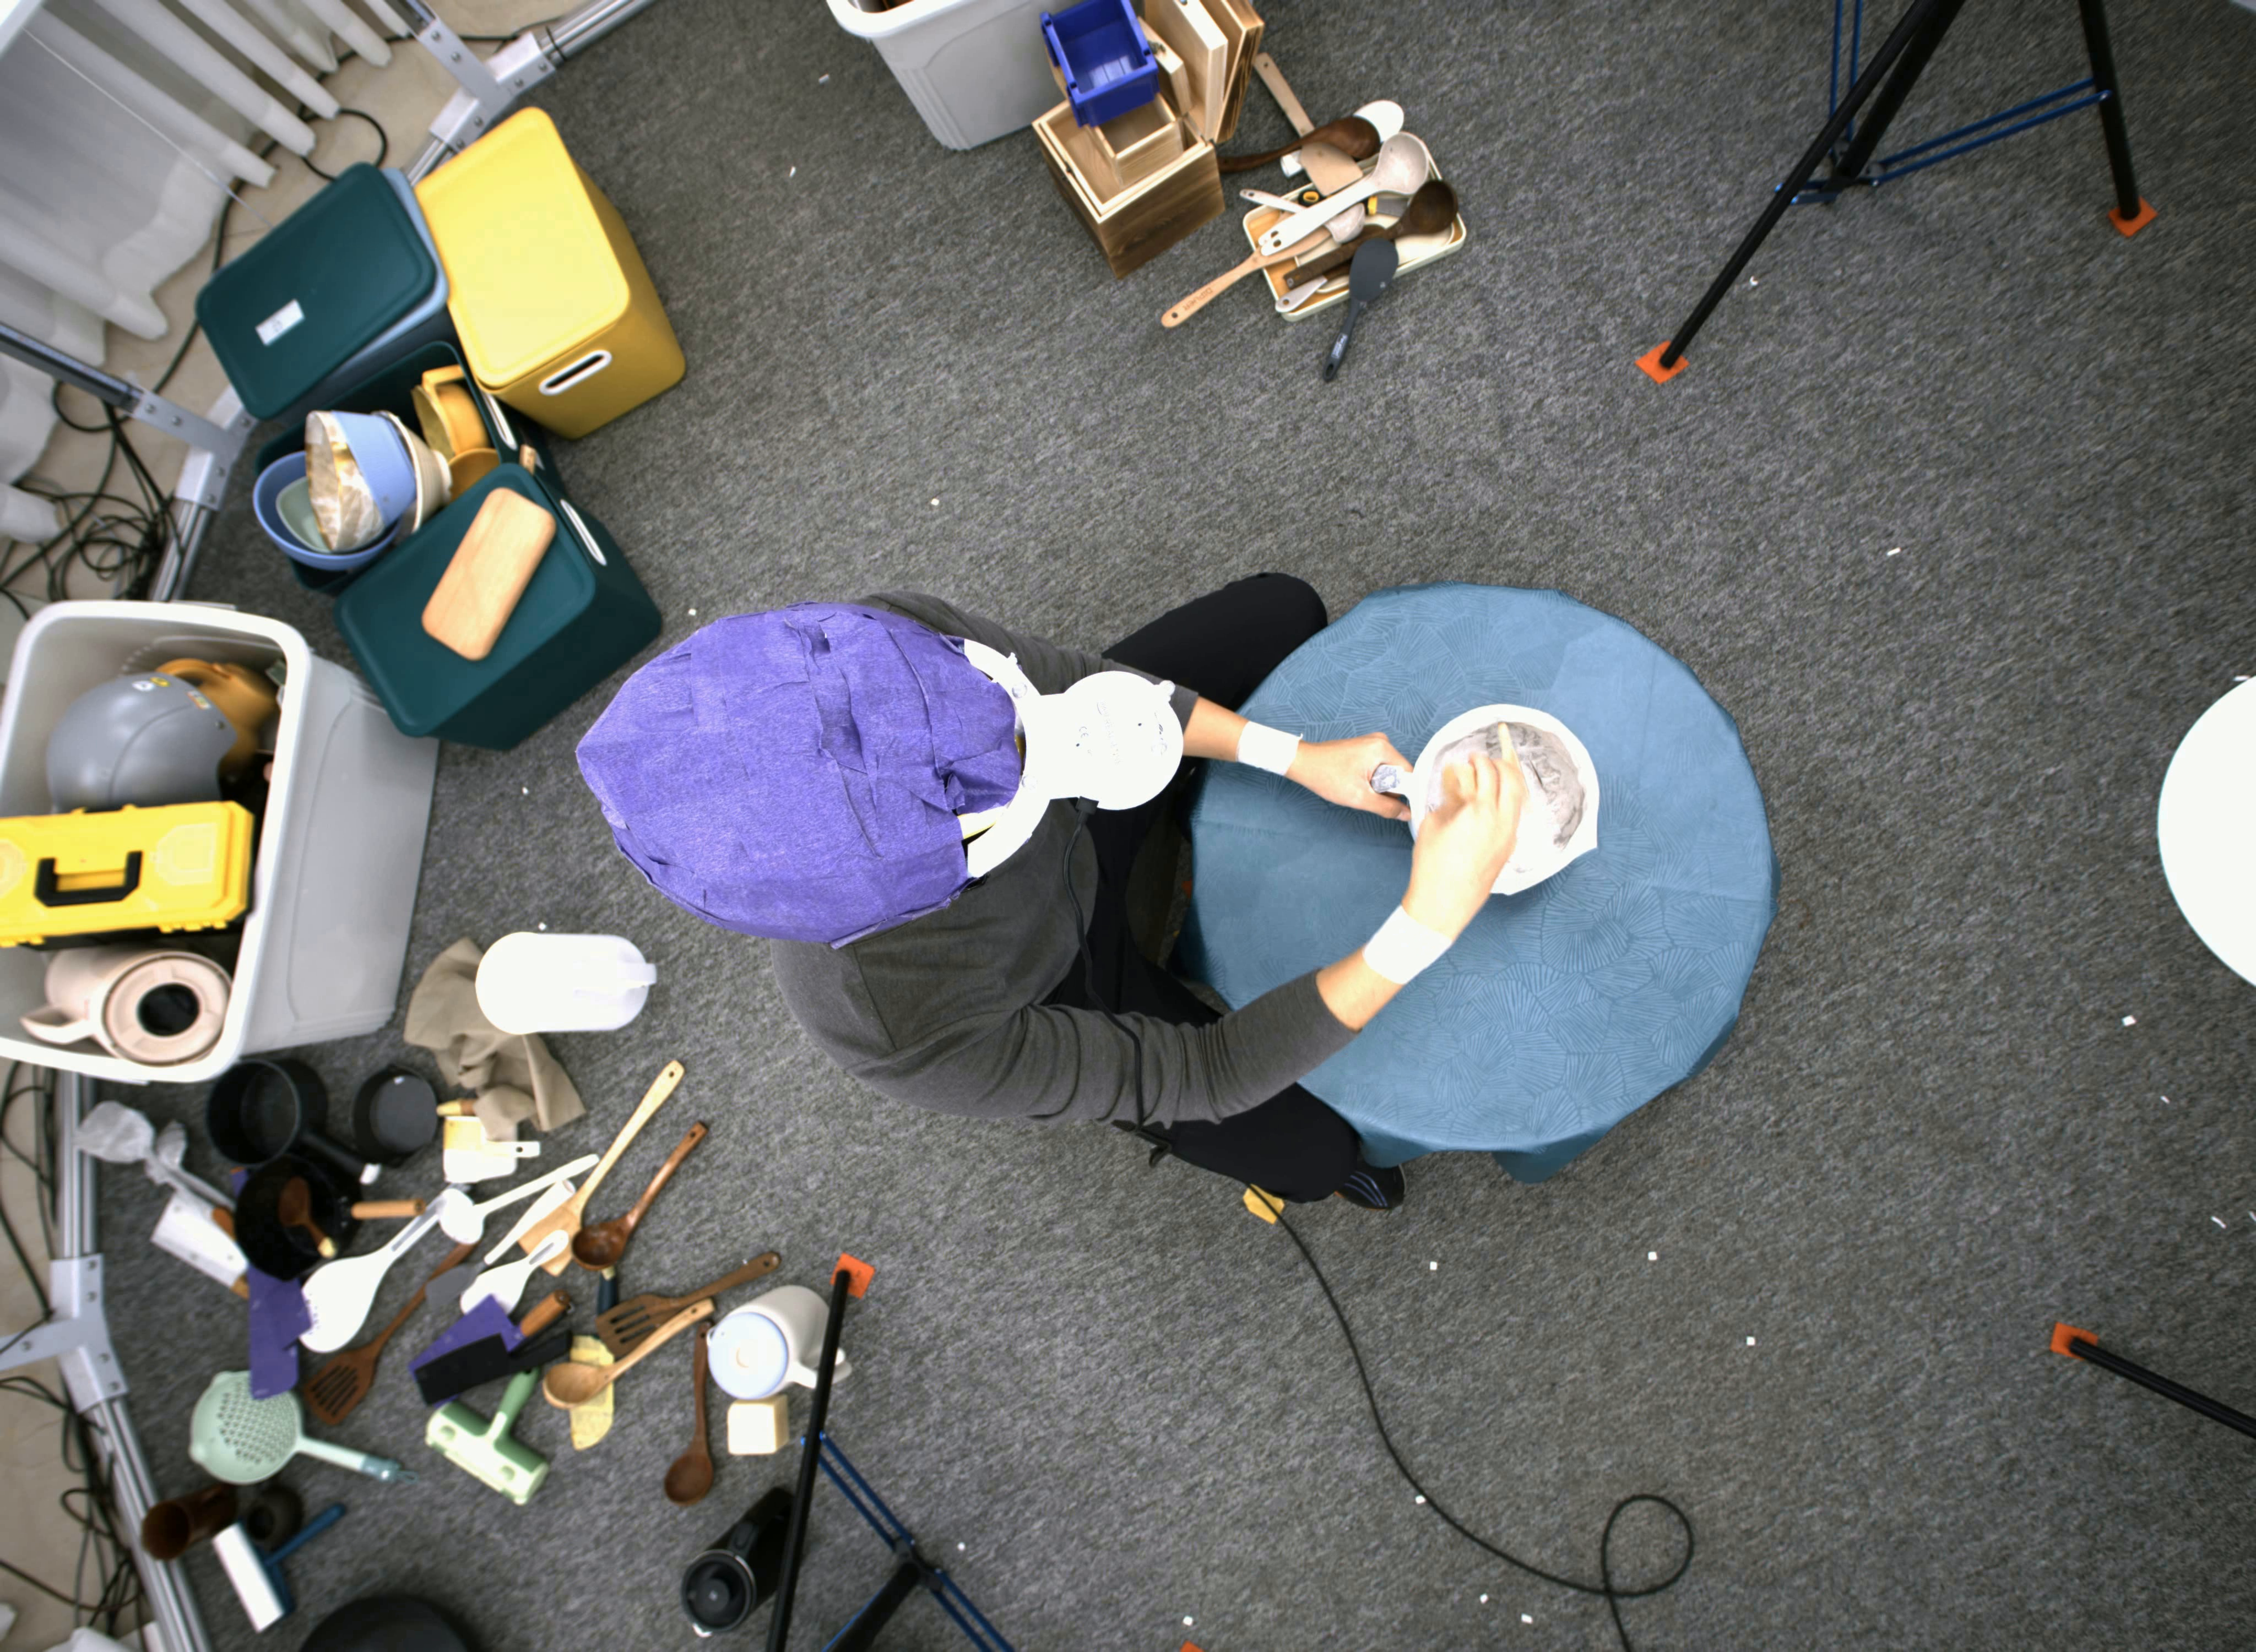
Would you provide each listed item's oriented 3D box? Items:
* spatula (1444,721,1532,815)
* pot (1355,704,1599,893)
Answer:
[{"bbox_3d":[0.316,-0.048,1.202,0.019,0.386,0.095,-16,88,25],"label":"spatula"},{"bbox_3d":[0.344,-0.029,1.383,0.234,0.137,0.178,10,87,11],"label":"pot"}]
